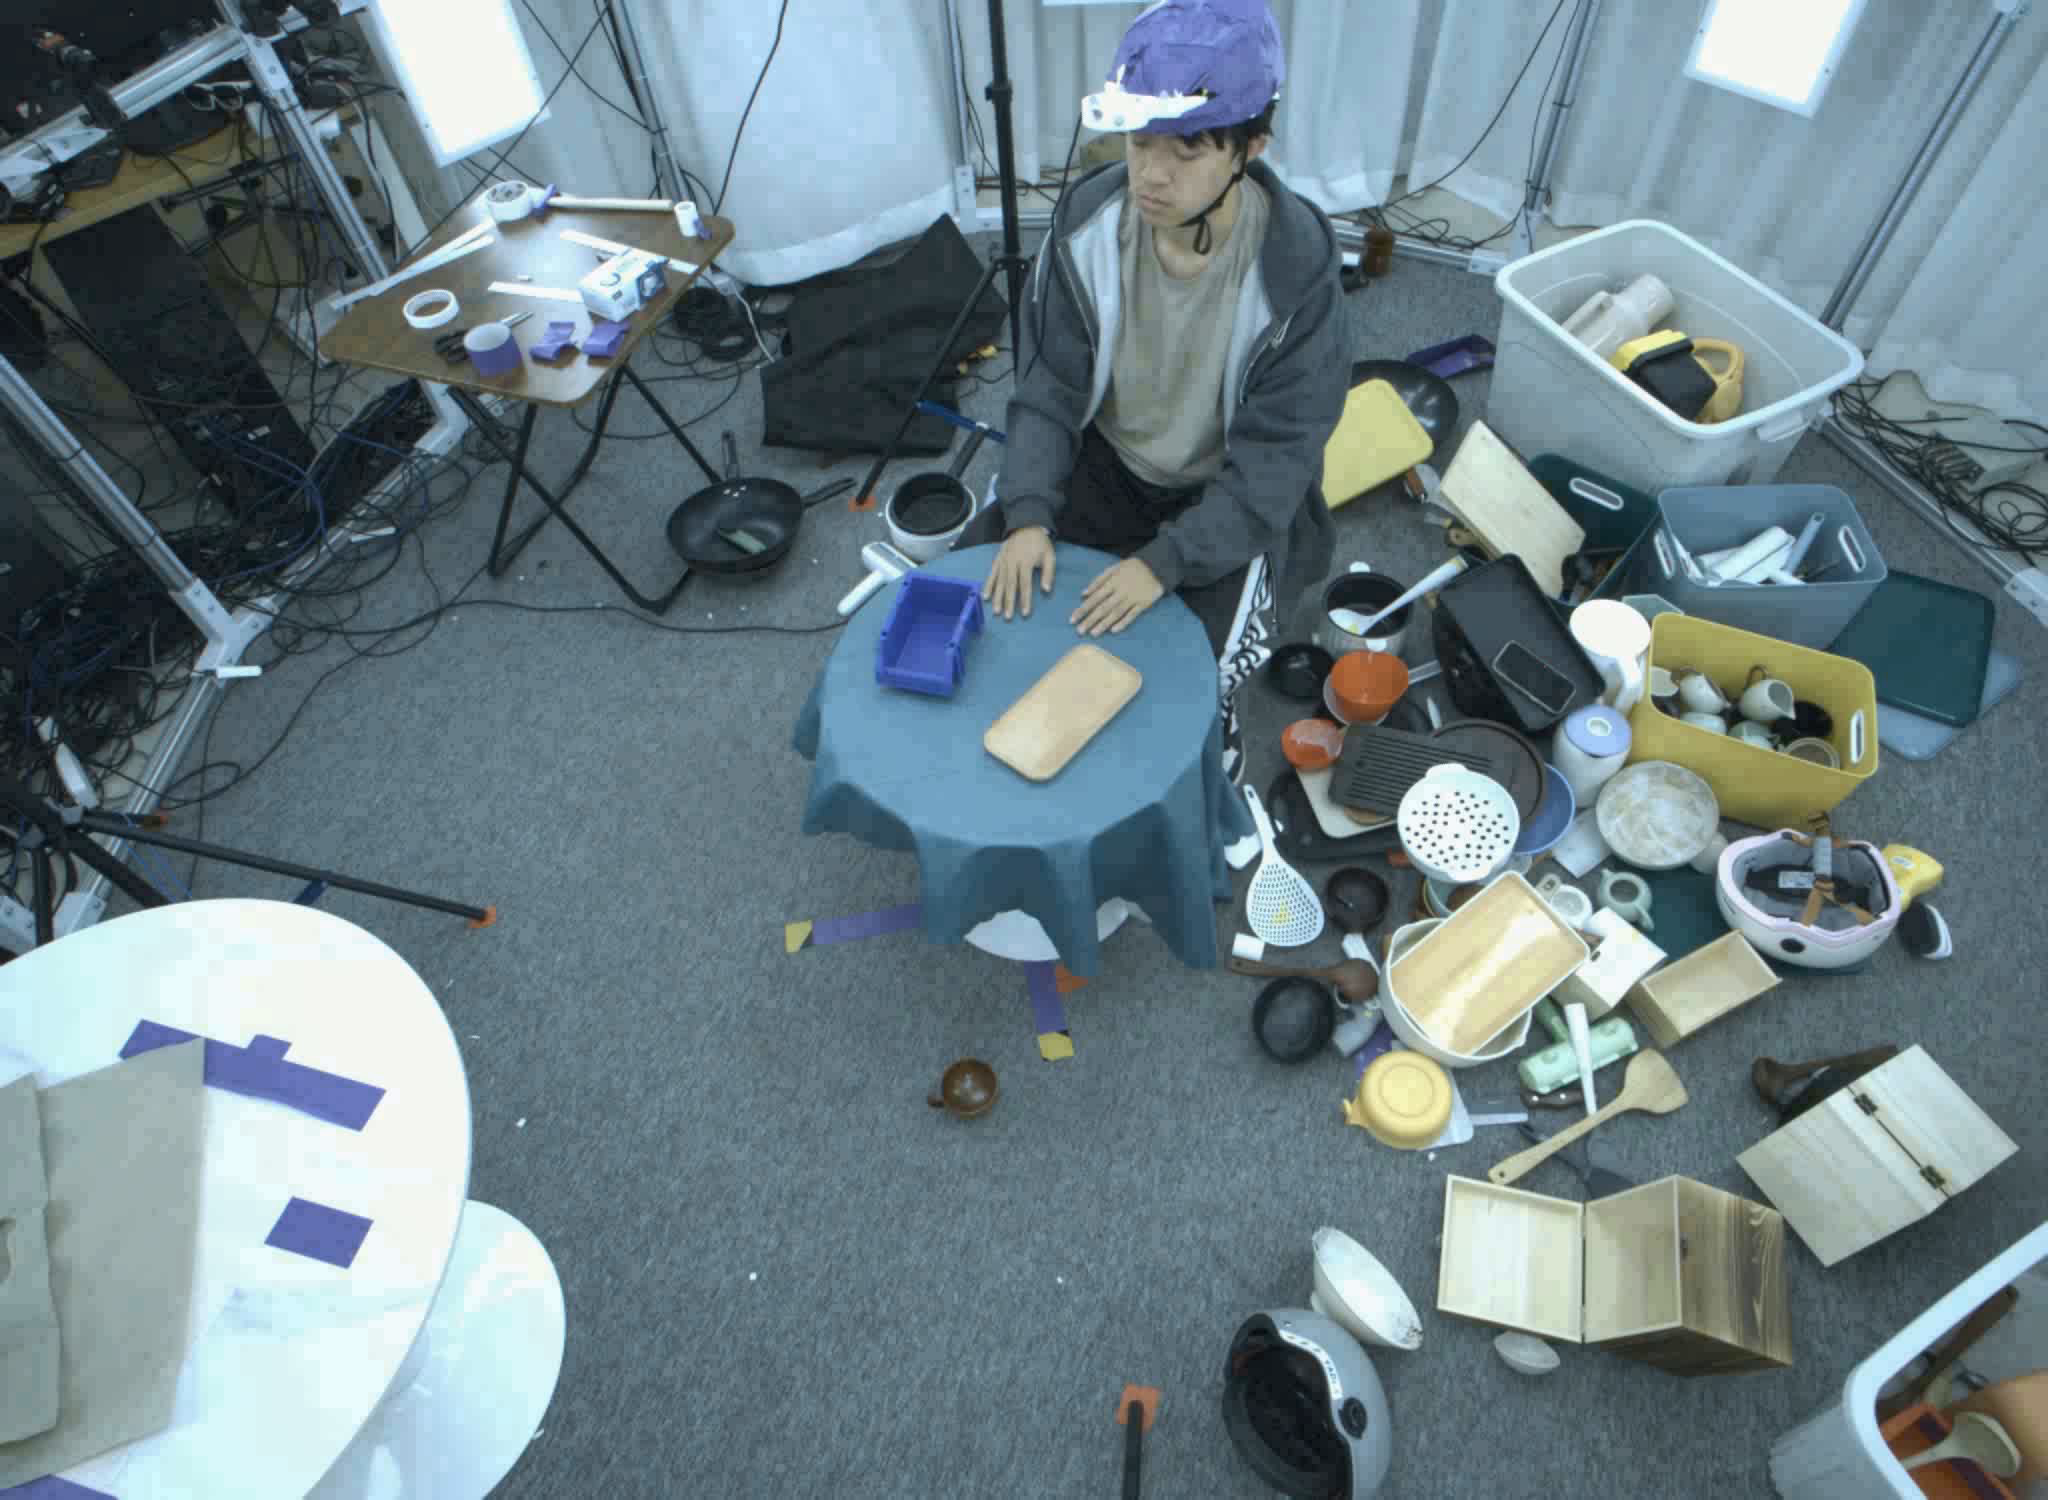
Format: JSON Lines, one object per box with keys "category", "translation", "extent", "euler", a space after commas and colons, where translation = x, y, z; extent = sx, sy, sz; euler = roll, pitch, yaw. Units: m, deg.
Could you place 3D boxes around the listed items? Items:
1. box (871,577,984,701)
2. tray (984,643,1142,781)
{"category": "box", "translation": [-0.145, -0.165, 1.862], "extent": [0.123, 0.083, 0.179], "euler": [13, 53, 11]}
{"category": "tray", "translation": [0.059, -0.058, 1.818], "extent": [0.128, 0.023, 0.252], "euler": [35, 62, 21]}
